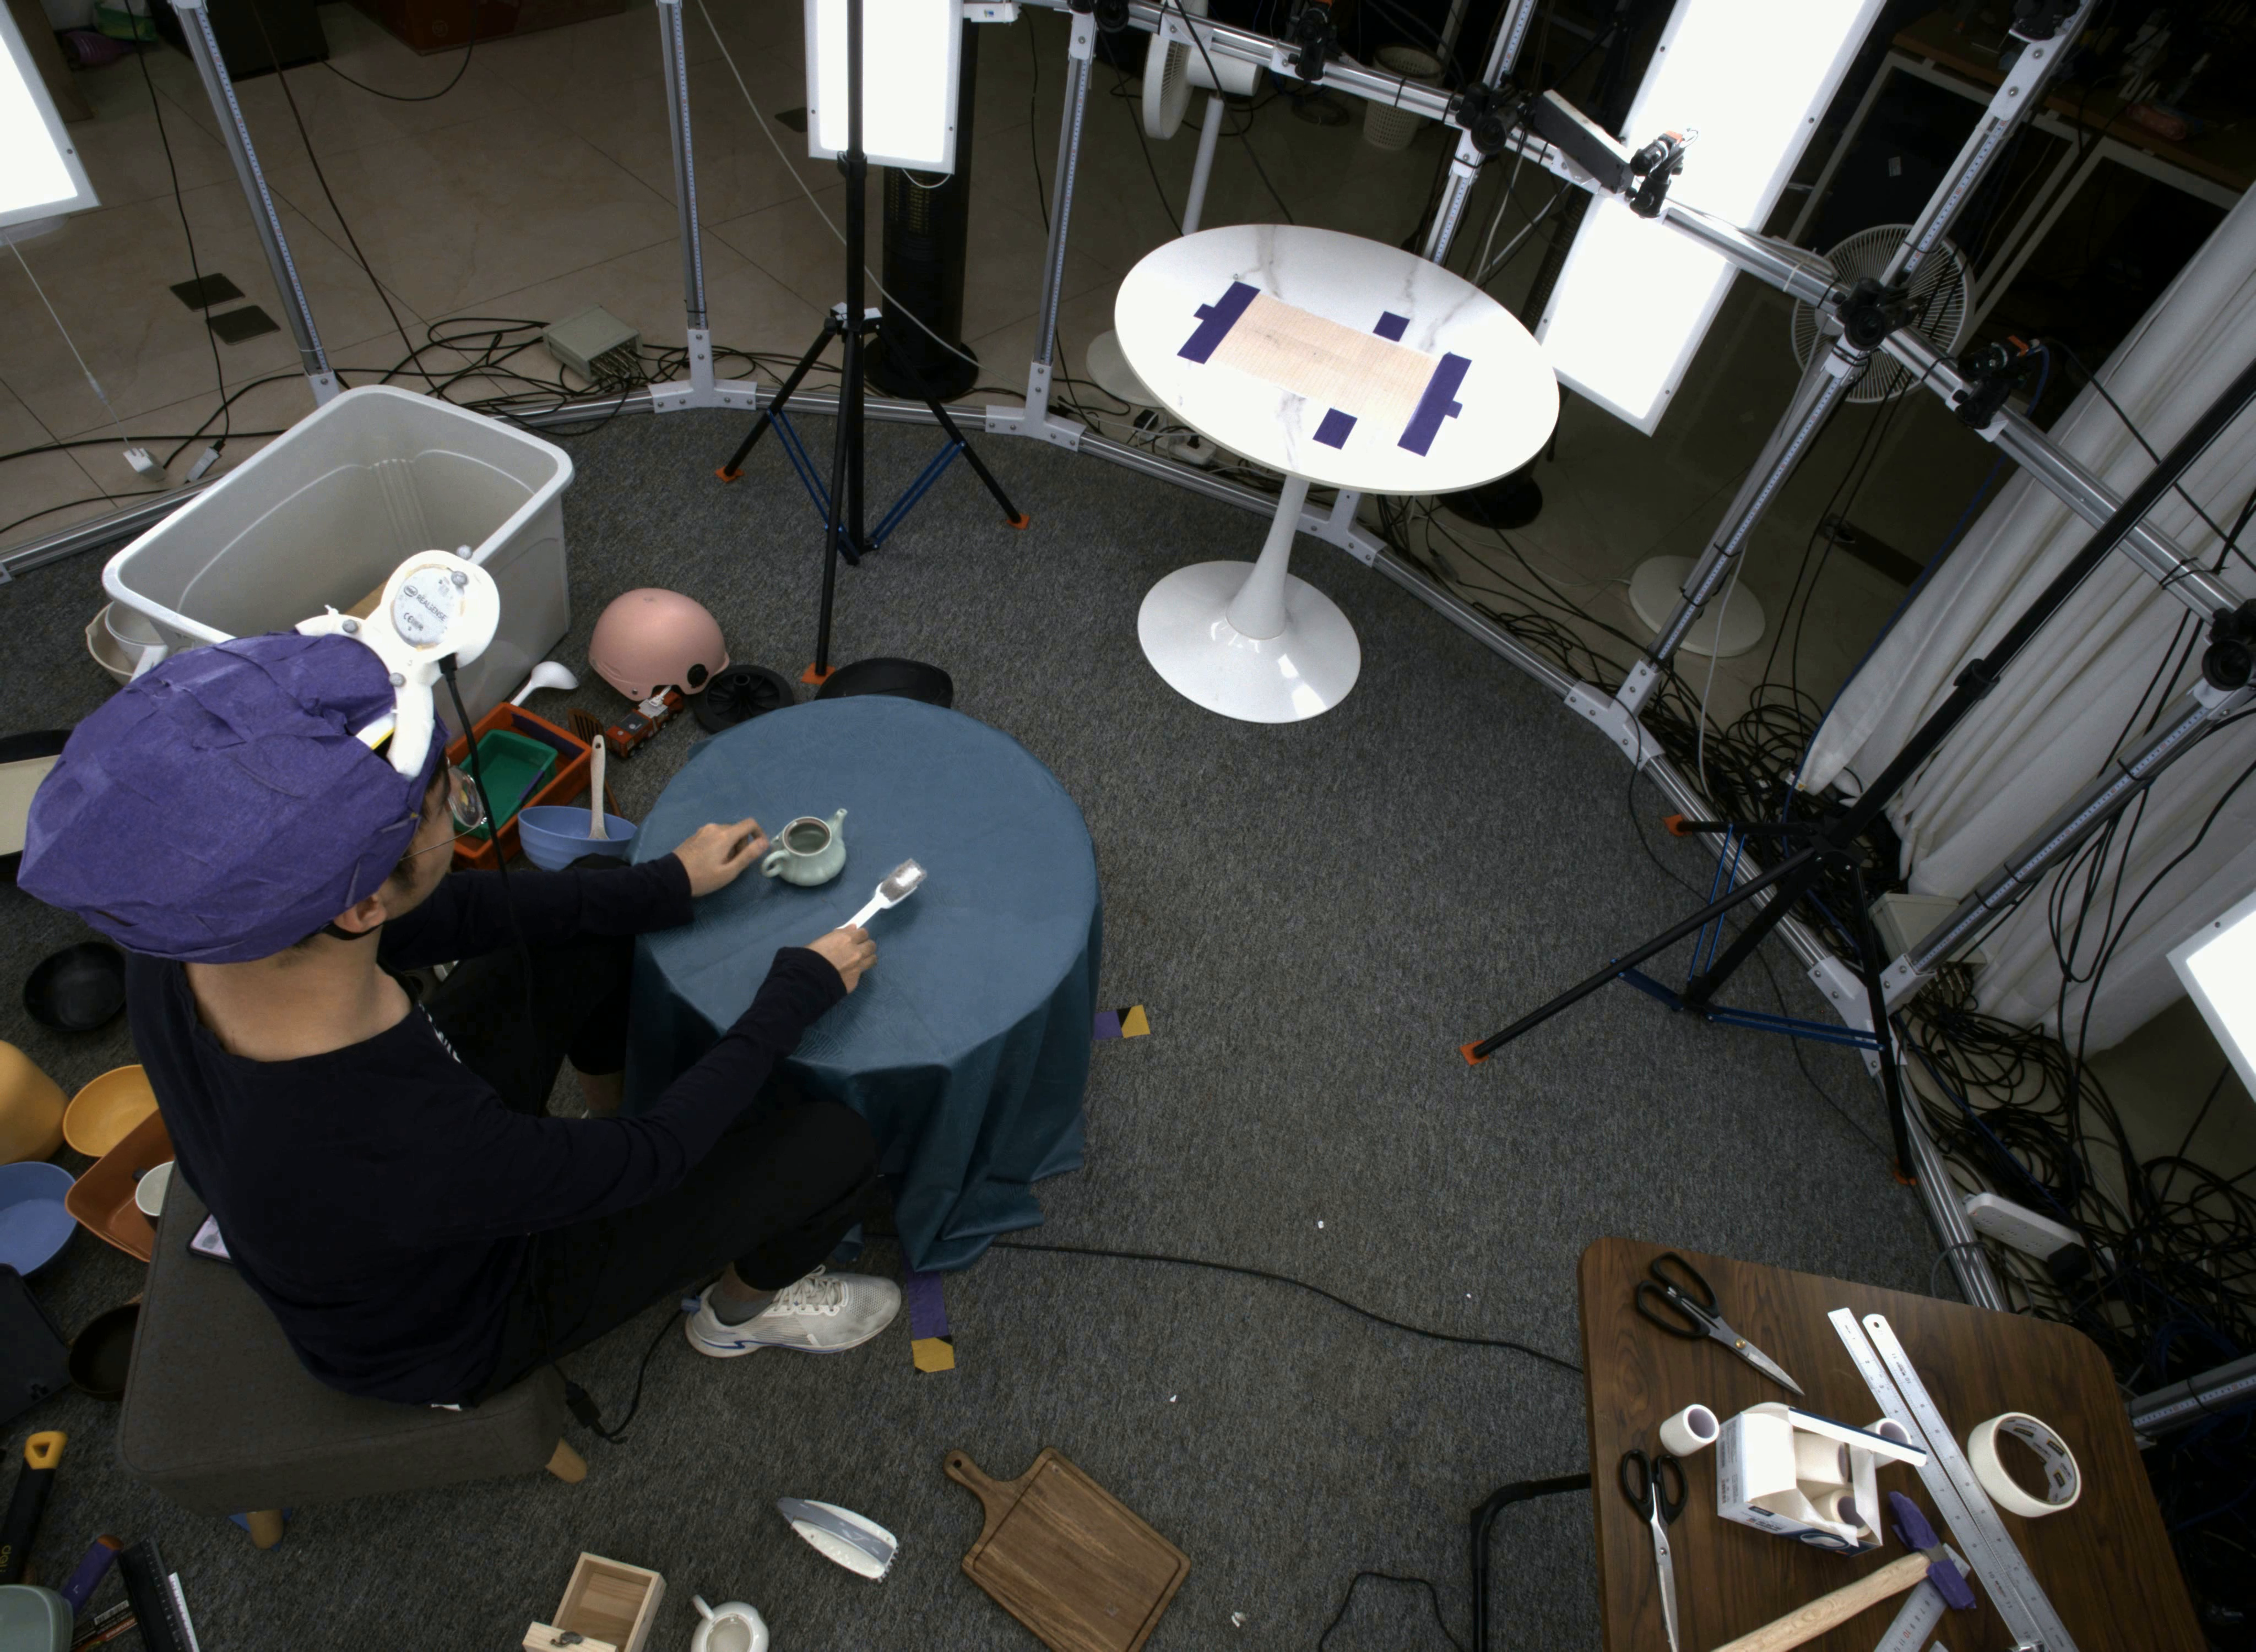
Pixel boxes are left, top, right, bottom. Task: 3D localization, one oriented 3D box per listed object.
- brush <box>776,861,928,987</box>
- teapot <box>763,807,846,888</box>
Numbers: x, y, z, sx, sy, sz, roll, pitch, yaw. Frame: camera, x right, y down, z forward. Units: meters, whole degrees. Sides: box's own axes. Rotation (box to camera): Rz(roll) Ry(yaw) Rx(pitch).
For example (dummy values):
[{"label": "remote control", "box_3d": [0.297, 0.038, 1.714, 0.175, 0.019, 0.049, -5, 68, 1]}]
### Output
[{"label": "brush", "box_3d": [-0.335, 0.115, 1.595, 0.034, 0.050, 0.244, 50, 47, -1]}, {"label": "teapot", "box_3d": [-0.415, 0.031, 1.666, 0.094, 0.062, 0.137, 40, 54, 14]}]
